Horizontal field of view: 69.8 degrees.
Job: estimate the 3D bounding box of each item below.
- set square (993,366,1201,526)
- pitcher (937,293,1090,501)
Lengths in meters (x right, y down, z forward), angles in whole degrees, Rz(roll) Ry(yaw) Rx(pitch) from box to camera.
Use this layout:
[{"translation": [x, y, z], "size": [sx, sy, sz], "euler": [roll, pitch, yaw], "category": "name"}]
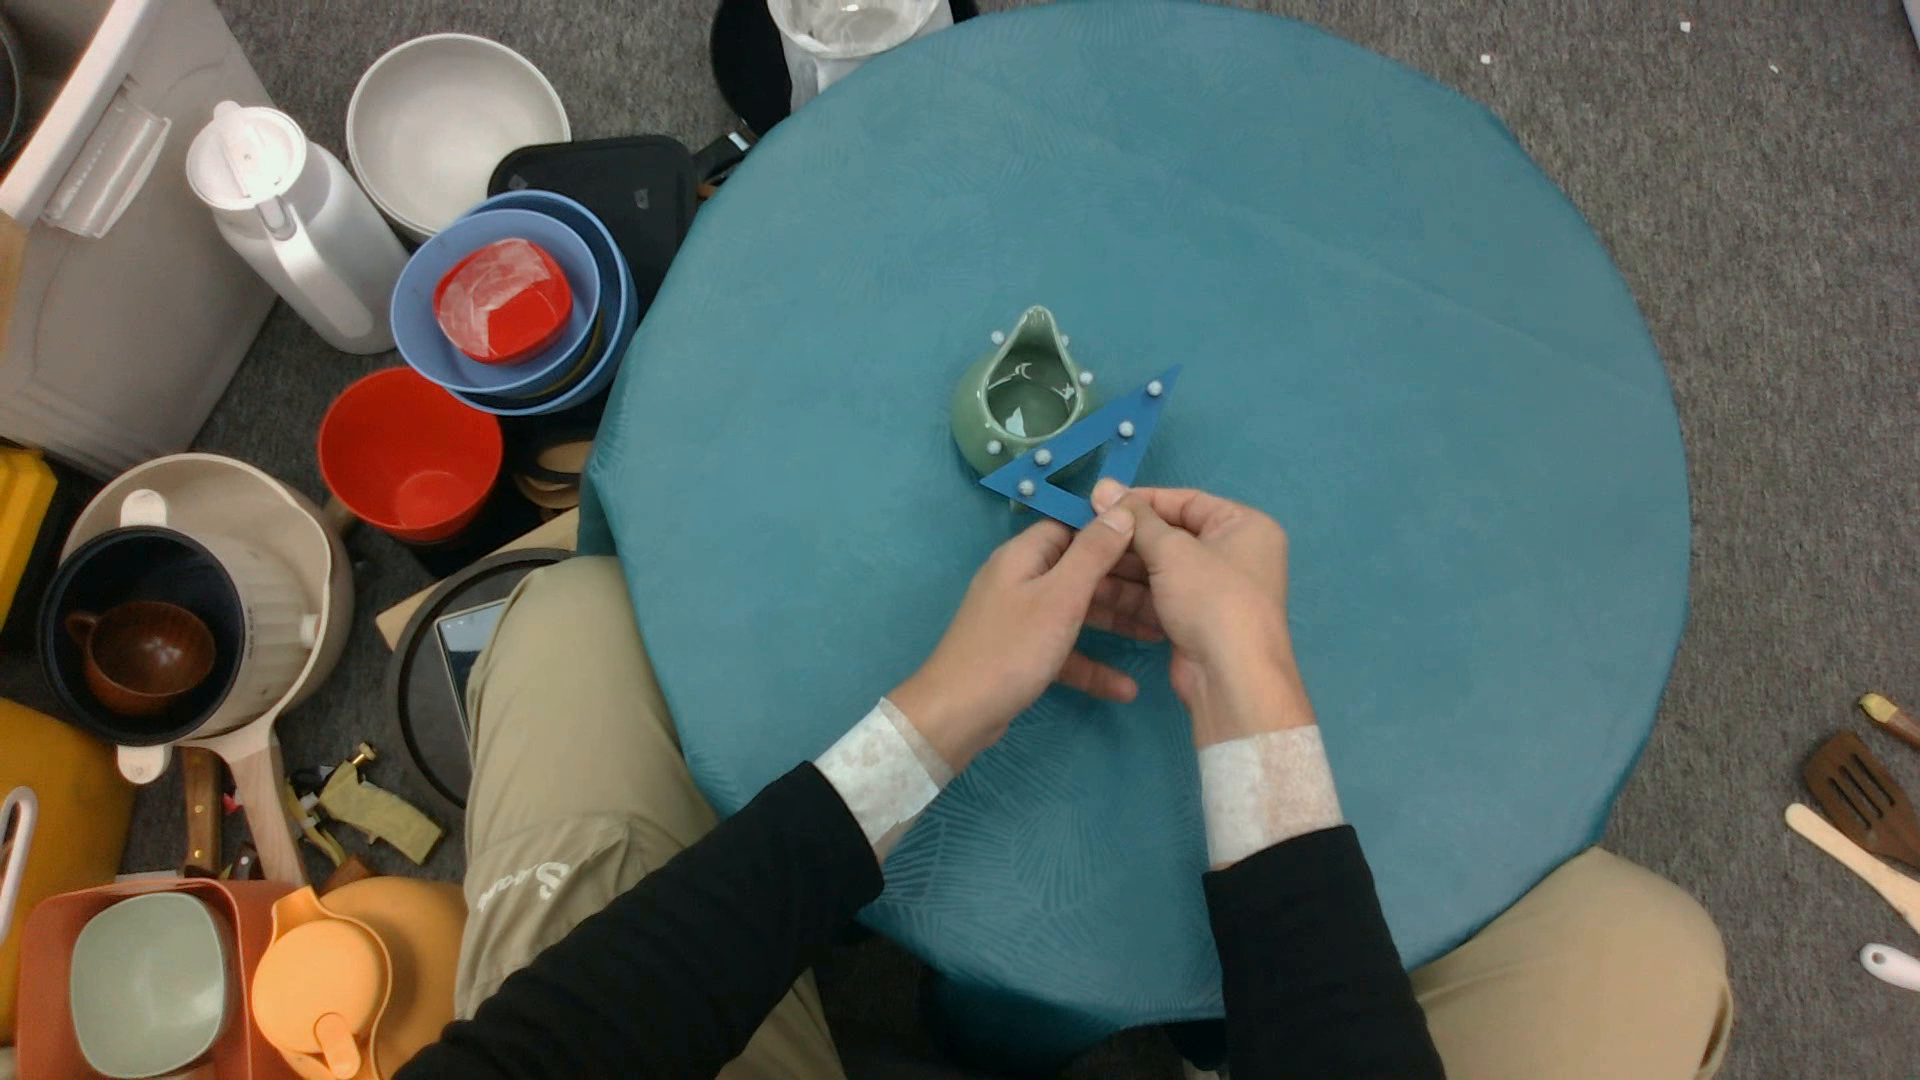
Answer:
[{"translation": [0.085, -0.047, 0.709], "size": [0.132, 0.006, 0.061], "euler": [-28, 70, -23], "category": "set square"}, {"translation": [0.029, -0.071, 0.745], "size": [0.084, 0.056, 0.113], "euler": [3, 73, 1], "category": "pitcher"}]
